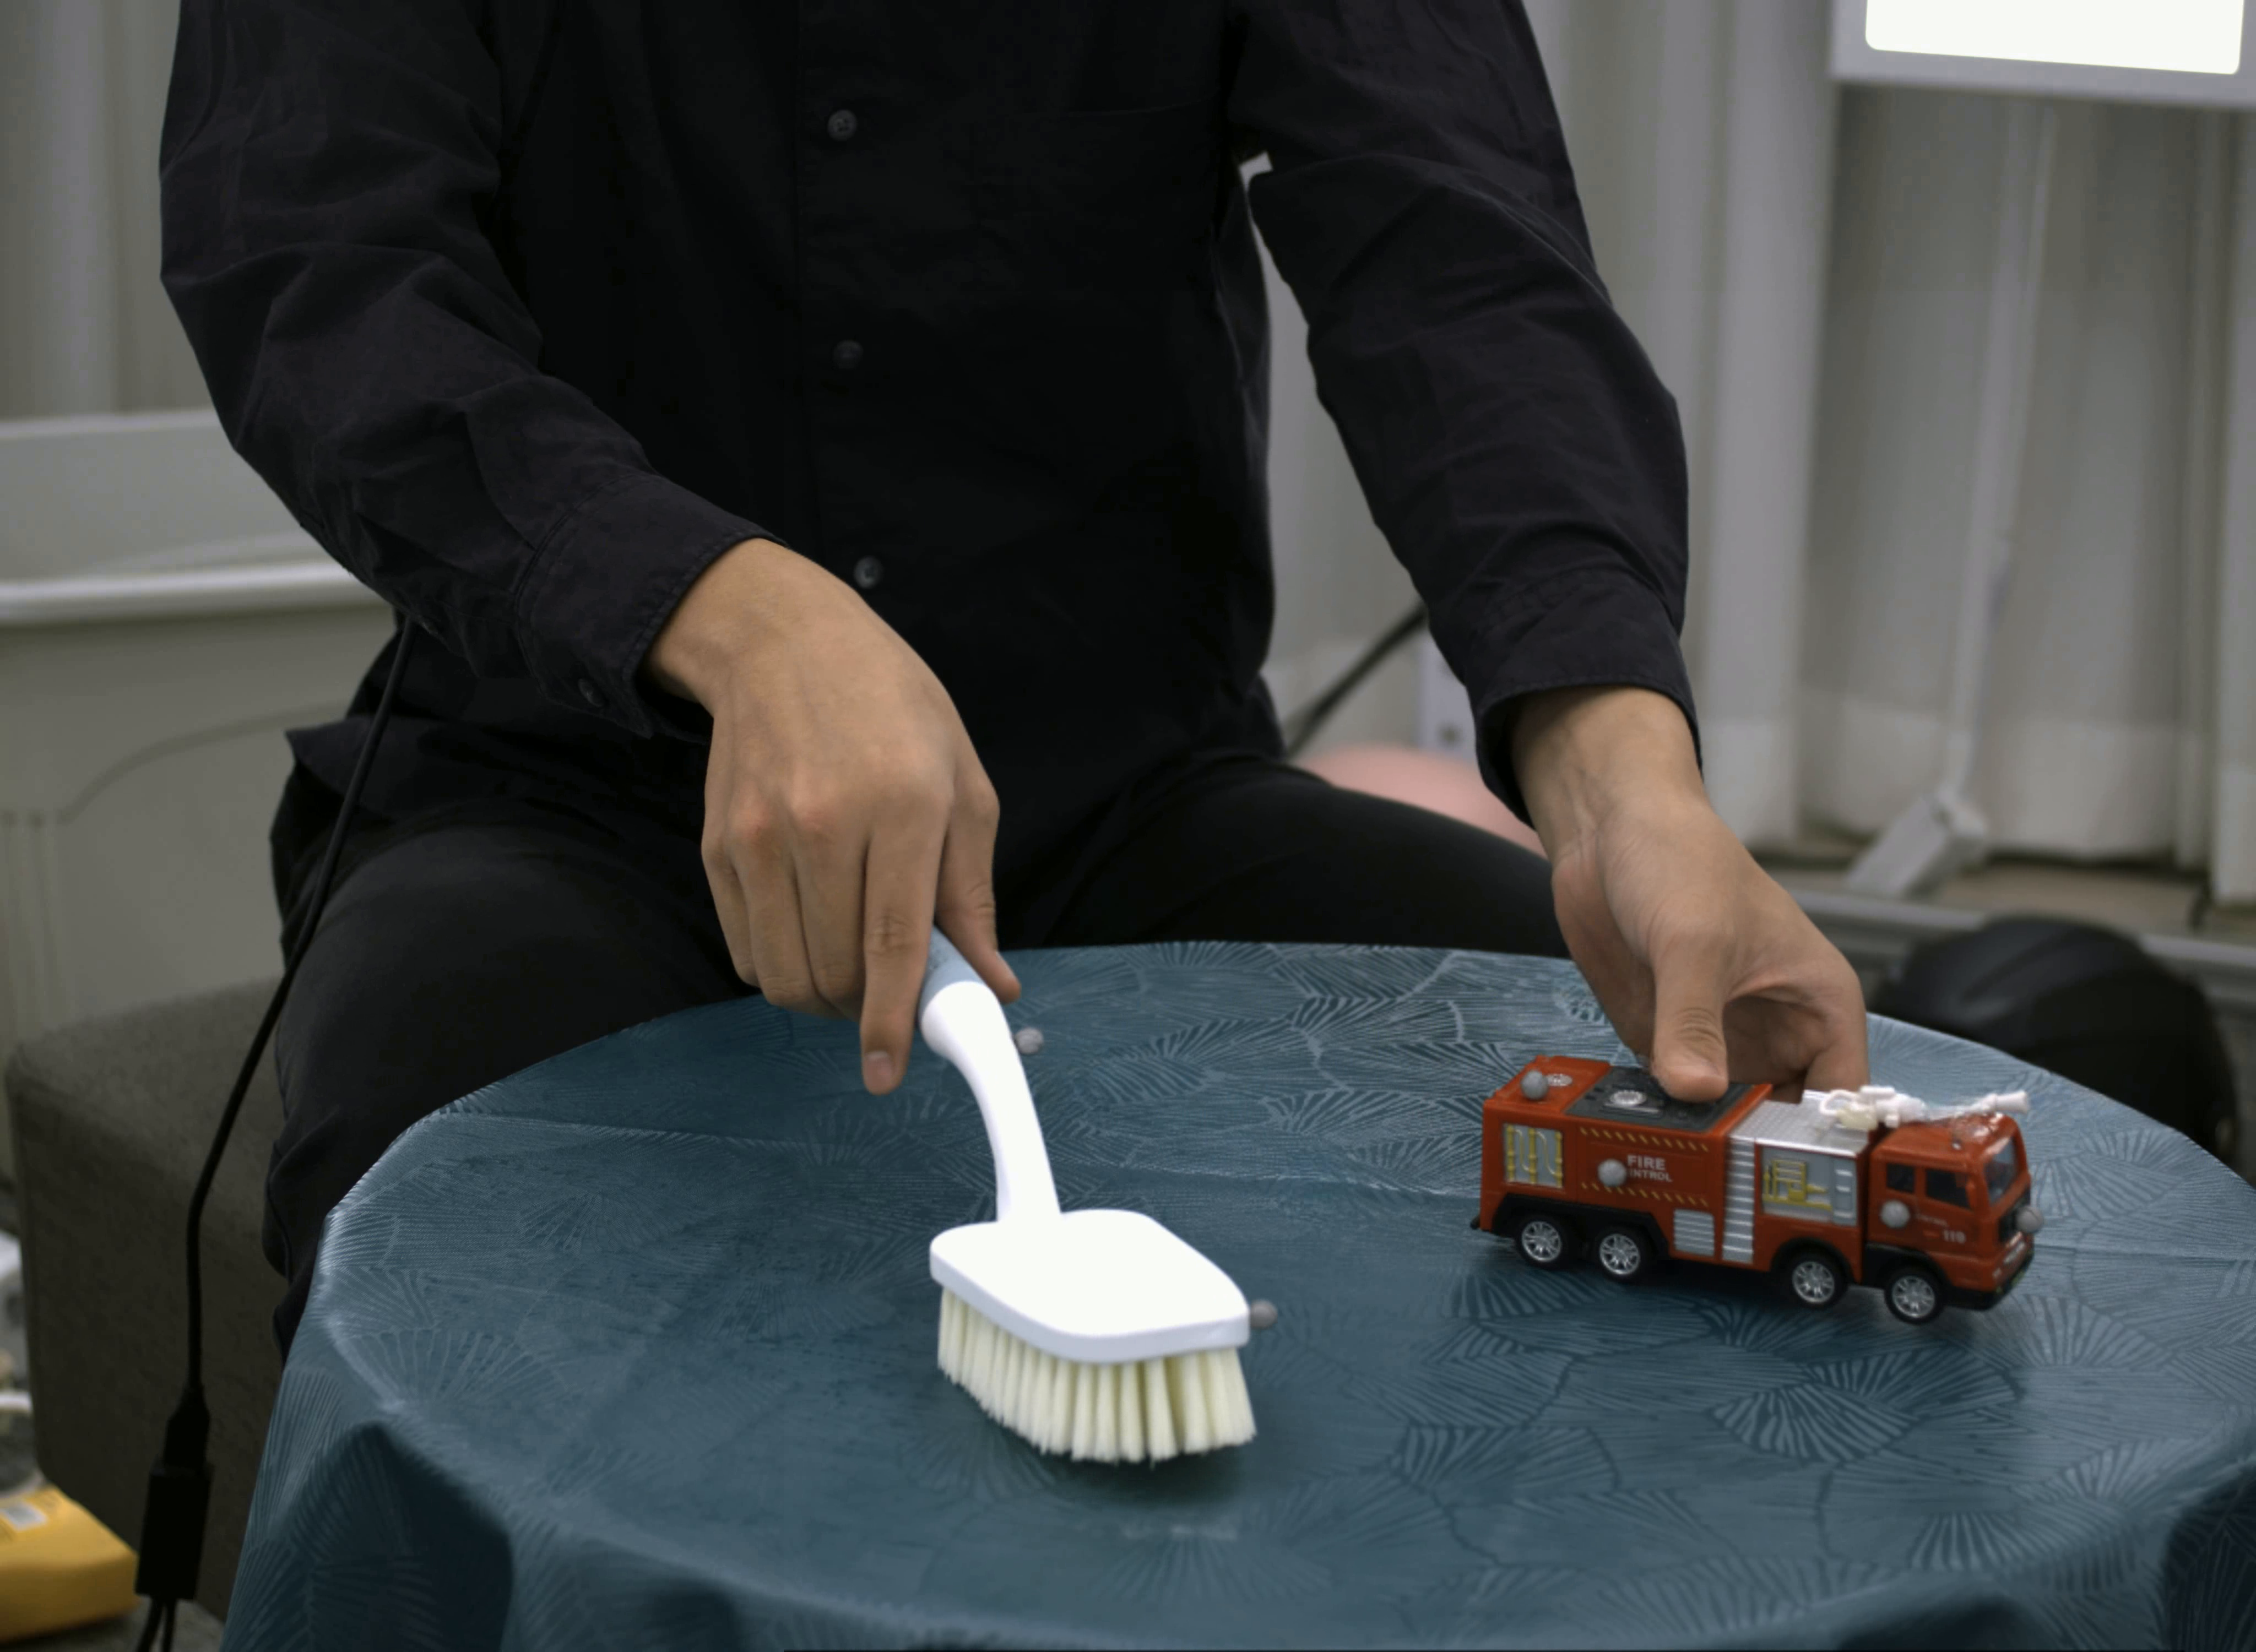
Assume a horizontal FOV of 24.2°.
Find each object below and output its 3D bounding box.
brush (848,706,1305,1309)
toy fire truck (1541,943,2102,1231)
[{"bbox_3d":[-0.021,0.066,1.559,0.084,0.084,0.321,35,7,-32],"label":"brush"},{"bbox_3d":[0.207,0.074,1.567,0.166,0.071,0.054,5,19,24],"label":"toy fire truck"}]
